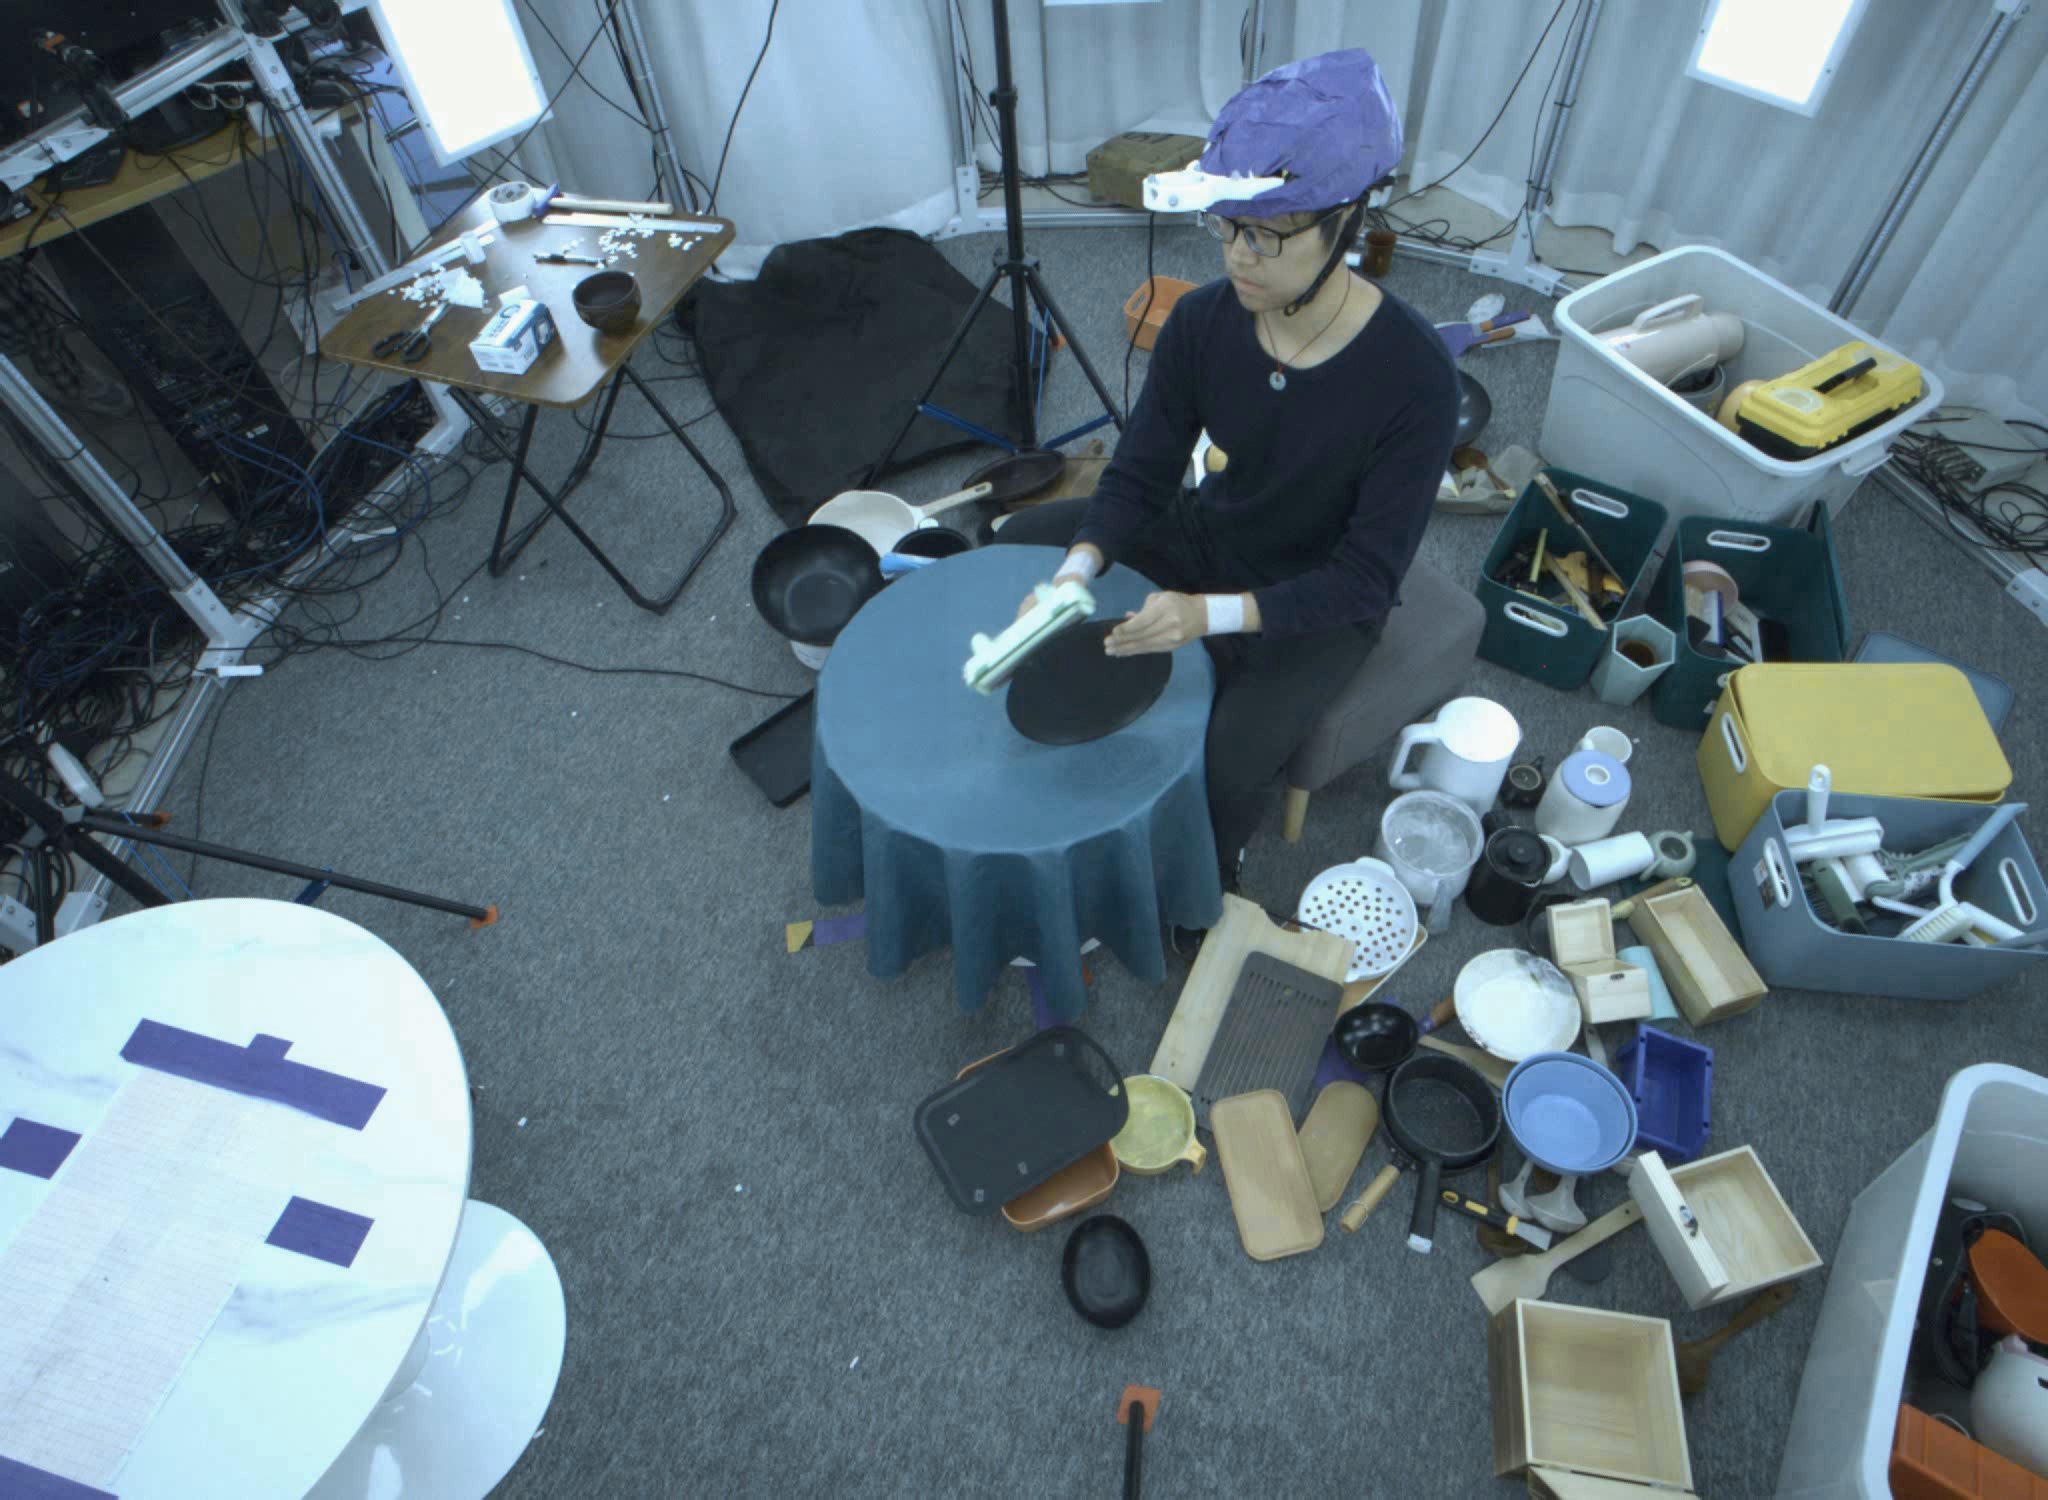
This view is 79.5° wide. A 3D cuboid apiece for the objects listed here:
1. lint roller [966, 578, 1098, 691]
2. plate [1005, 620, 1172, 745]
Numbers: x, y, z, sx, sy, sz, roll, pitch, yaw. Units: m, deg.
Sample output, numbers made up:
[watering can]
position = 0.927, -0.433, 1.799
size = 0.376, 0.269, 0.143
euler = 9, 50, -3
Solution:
[lint roller]
position = 0.010, -0.181, 1.679
size = 0.197, 0.083, 0.182
euler = -36, 18, 19
[plate]
position = 0.087, -0.095, 1.701
size = 0.246, 0.247, 0.023
euler = -17, 53, -9
